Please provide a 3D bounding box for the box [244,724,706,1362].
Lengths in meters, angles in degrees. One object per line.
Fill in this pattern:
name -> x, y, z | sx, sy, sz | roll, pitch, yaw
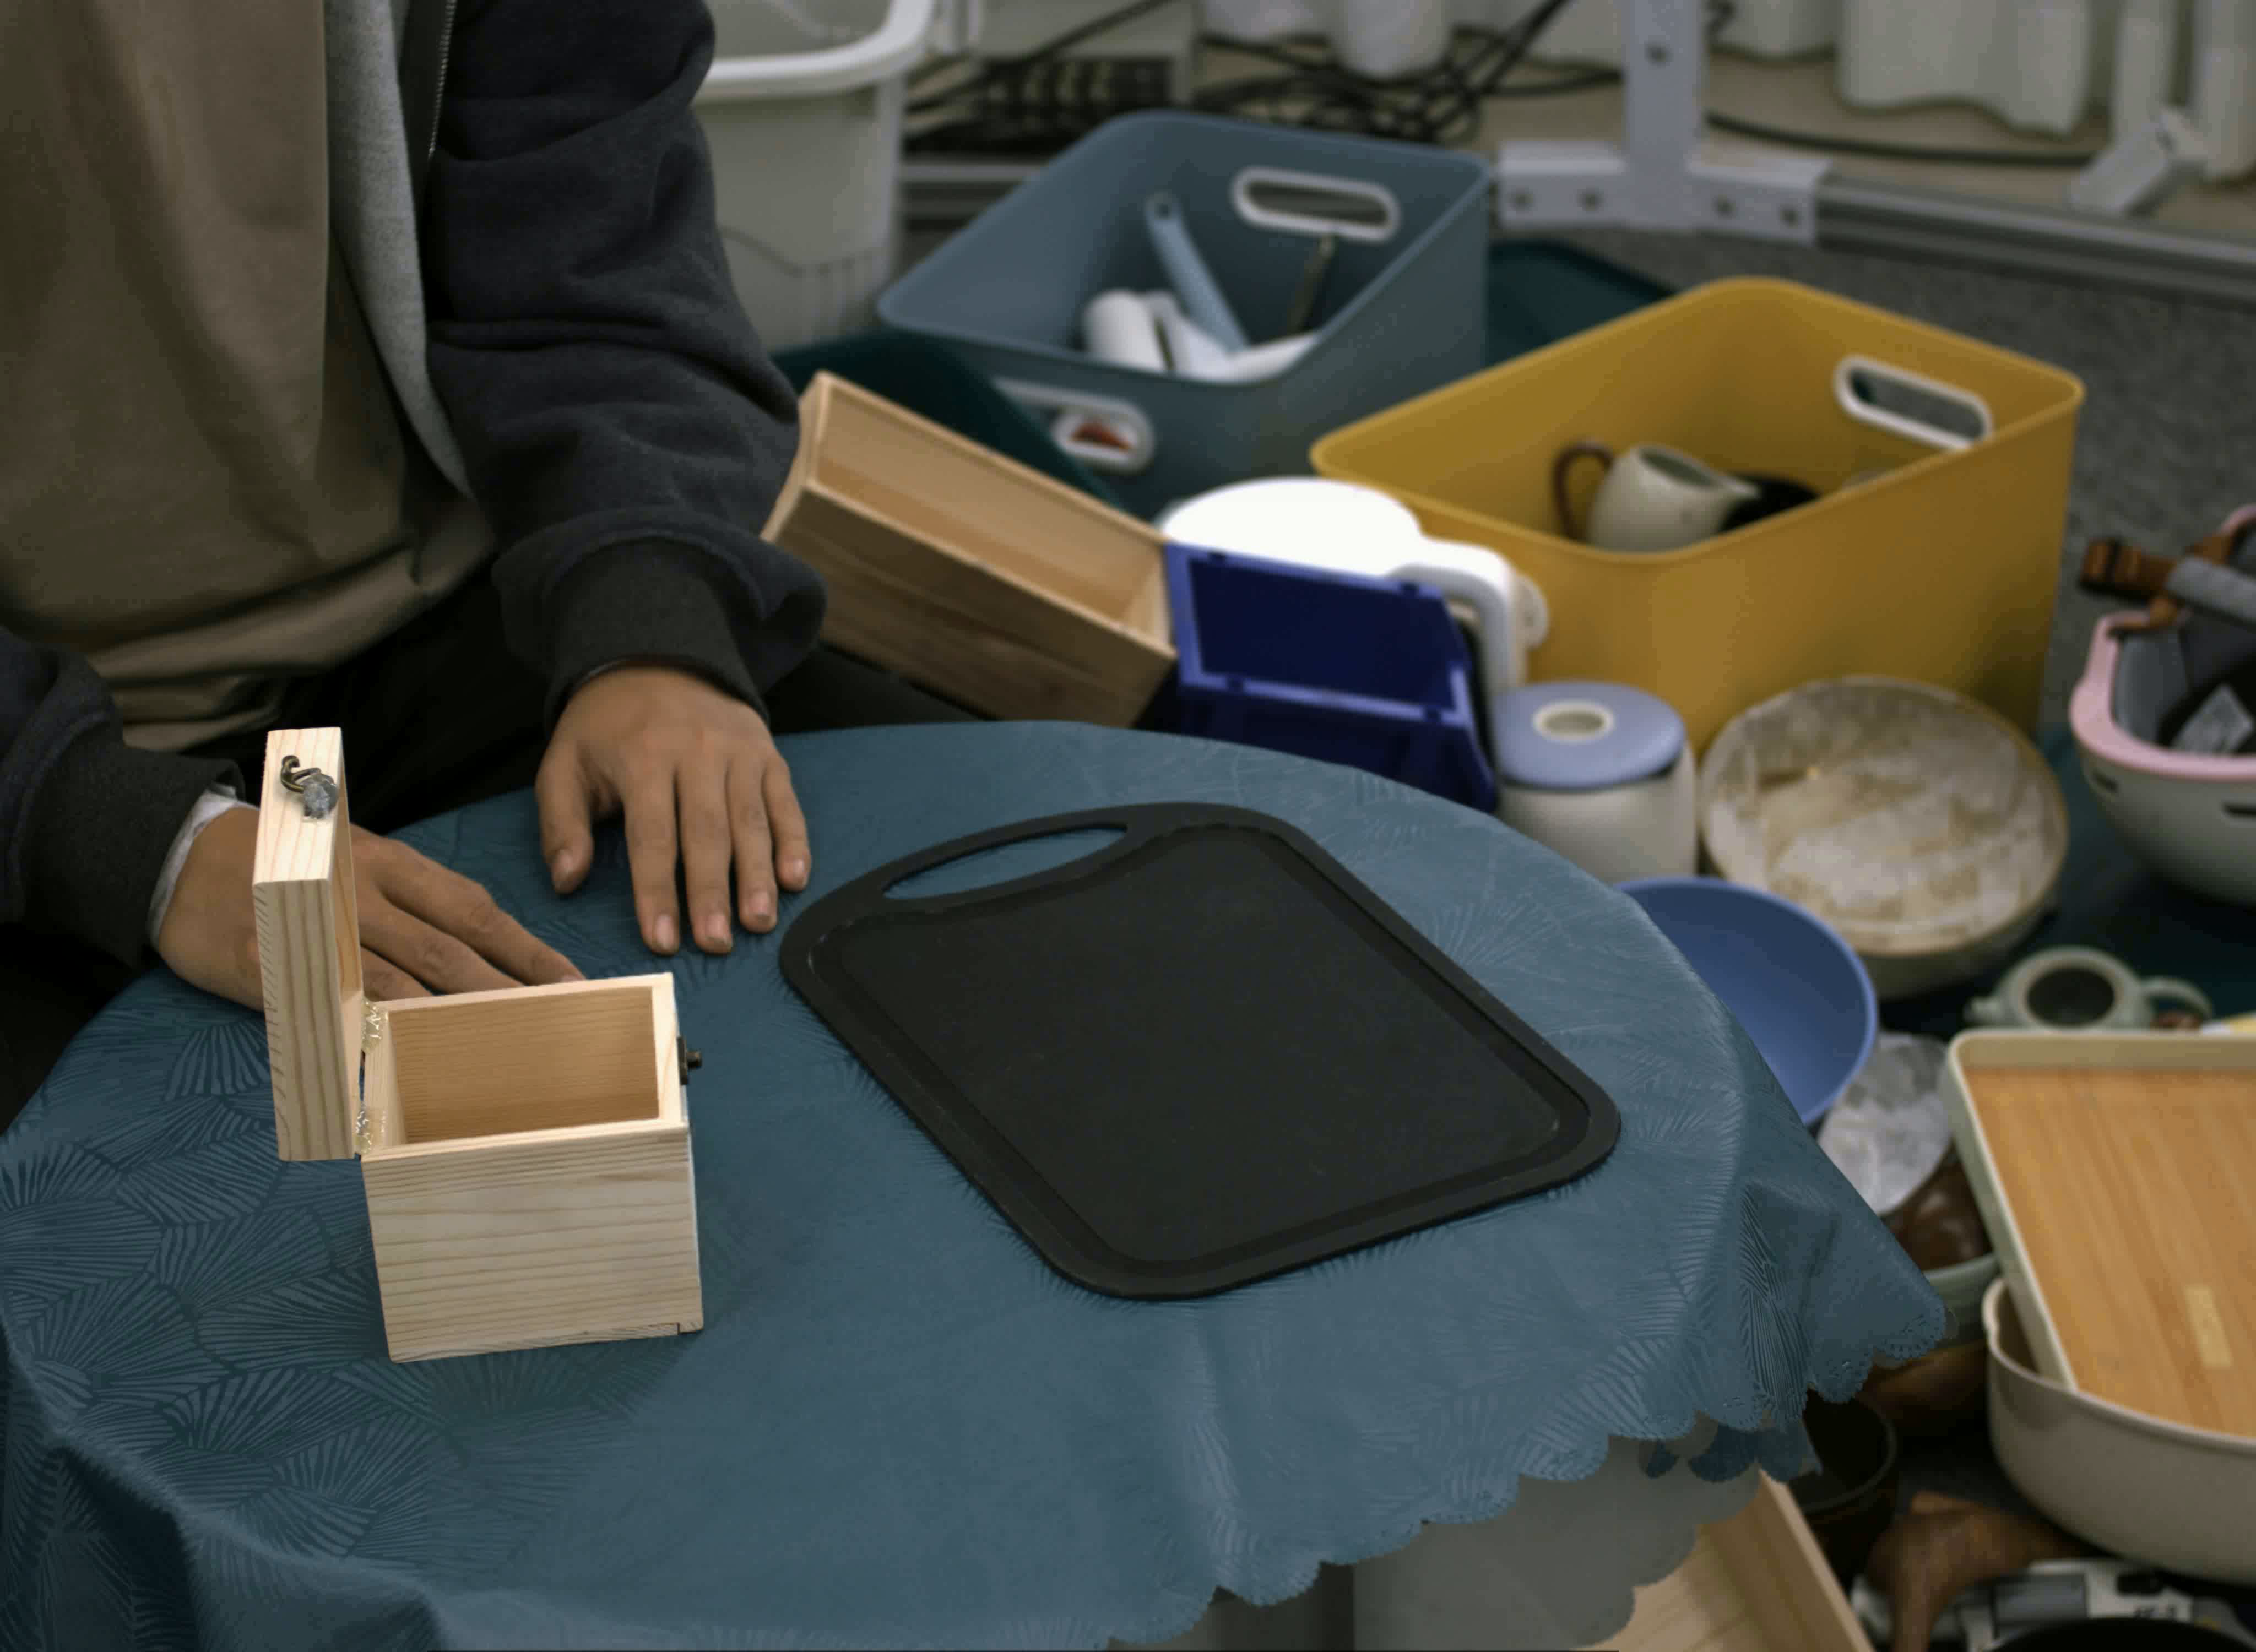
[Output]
box -> -0.205, 0.064, 1.795 | 0.133, 0.182, 0.104 | -7, 27, -4

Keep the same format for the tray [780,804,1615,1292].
tray -> 0.014, 0.068, 1.957 | 0.212, 0.009, 0.327 | -14, 30, -22
